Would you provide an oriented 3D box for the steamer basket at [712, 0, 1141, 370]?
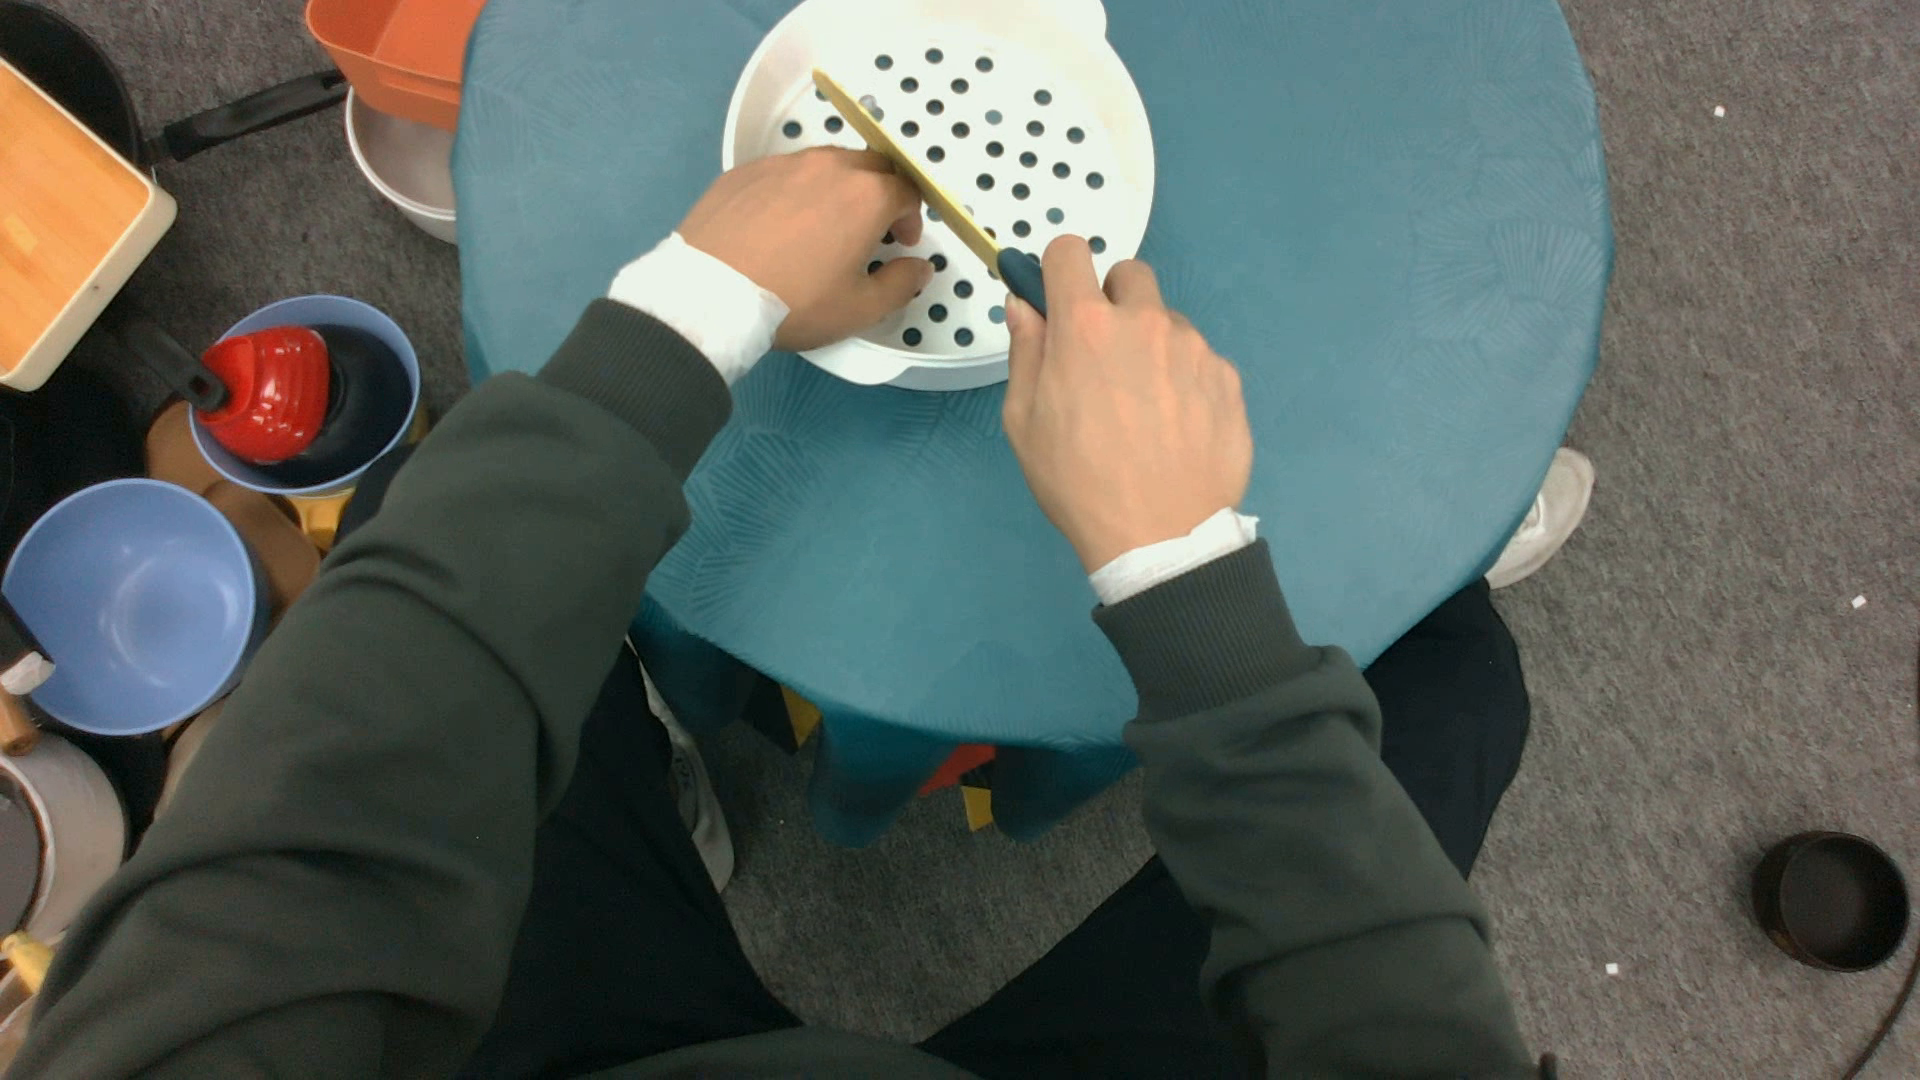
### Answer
[{"bbox_3d":[-0.016,-0.183,0.673,0.202,0.069,0.231,29,80,2],"label":"steamer basket"}]

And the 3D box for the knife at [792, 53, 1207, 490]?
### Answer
[{"bbox_3d":[0.009,-0.127,0.613,0.027,0.081,0.290,-42,70,5],"label":"knife"}]
